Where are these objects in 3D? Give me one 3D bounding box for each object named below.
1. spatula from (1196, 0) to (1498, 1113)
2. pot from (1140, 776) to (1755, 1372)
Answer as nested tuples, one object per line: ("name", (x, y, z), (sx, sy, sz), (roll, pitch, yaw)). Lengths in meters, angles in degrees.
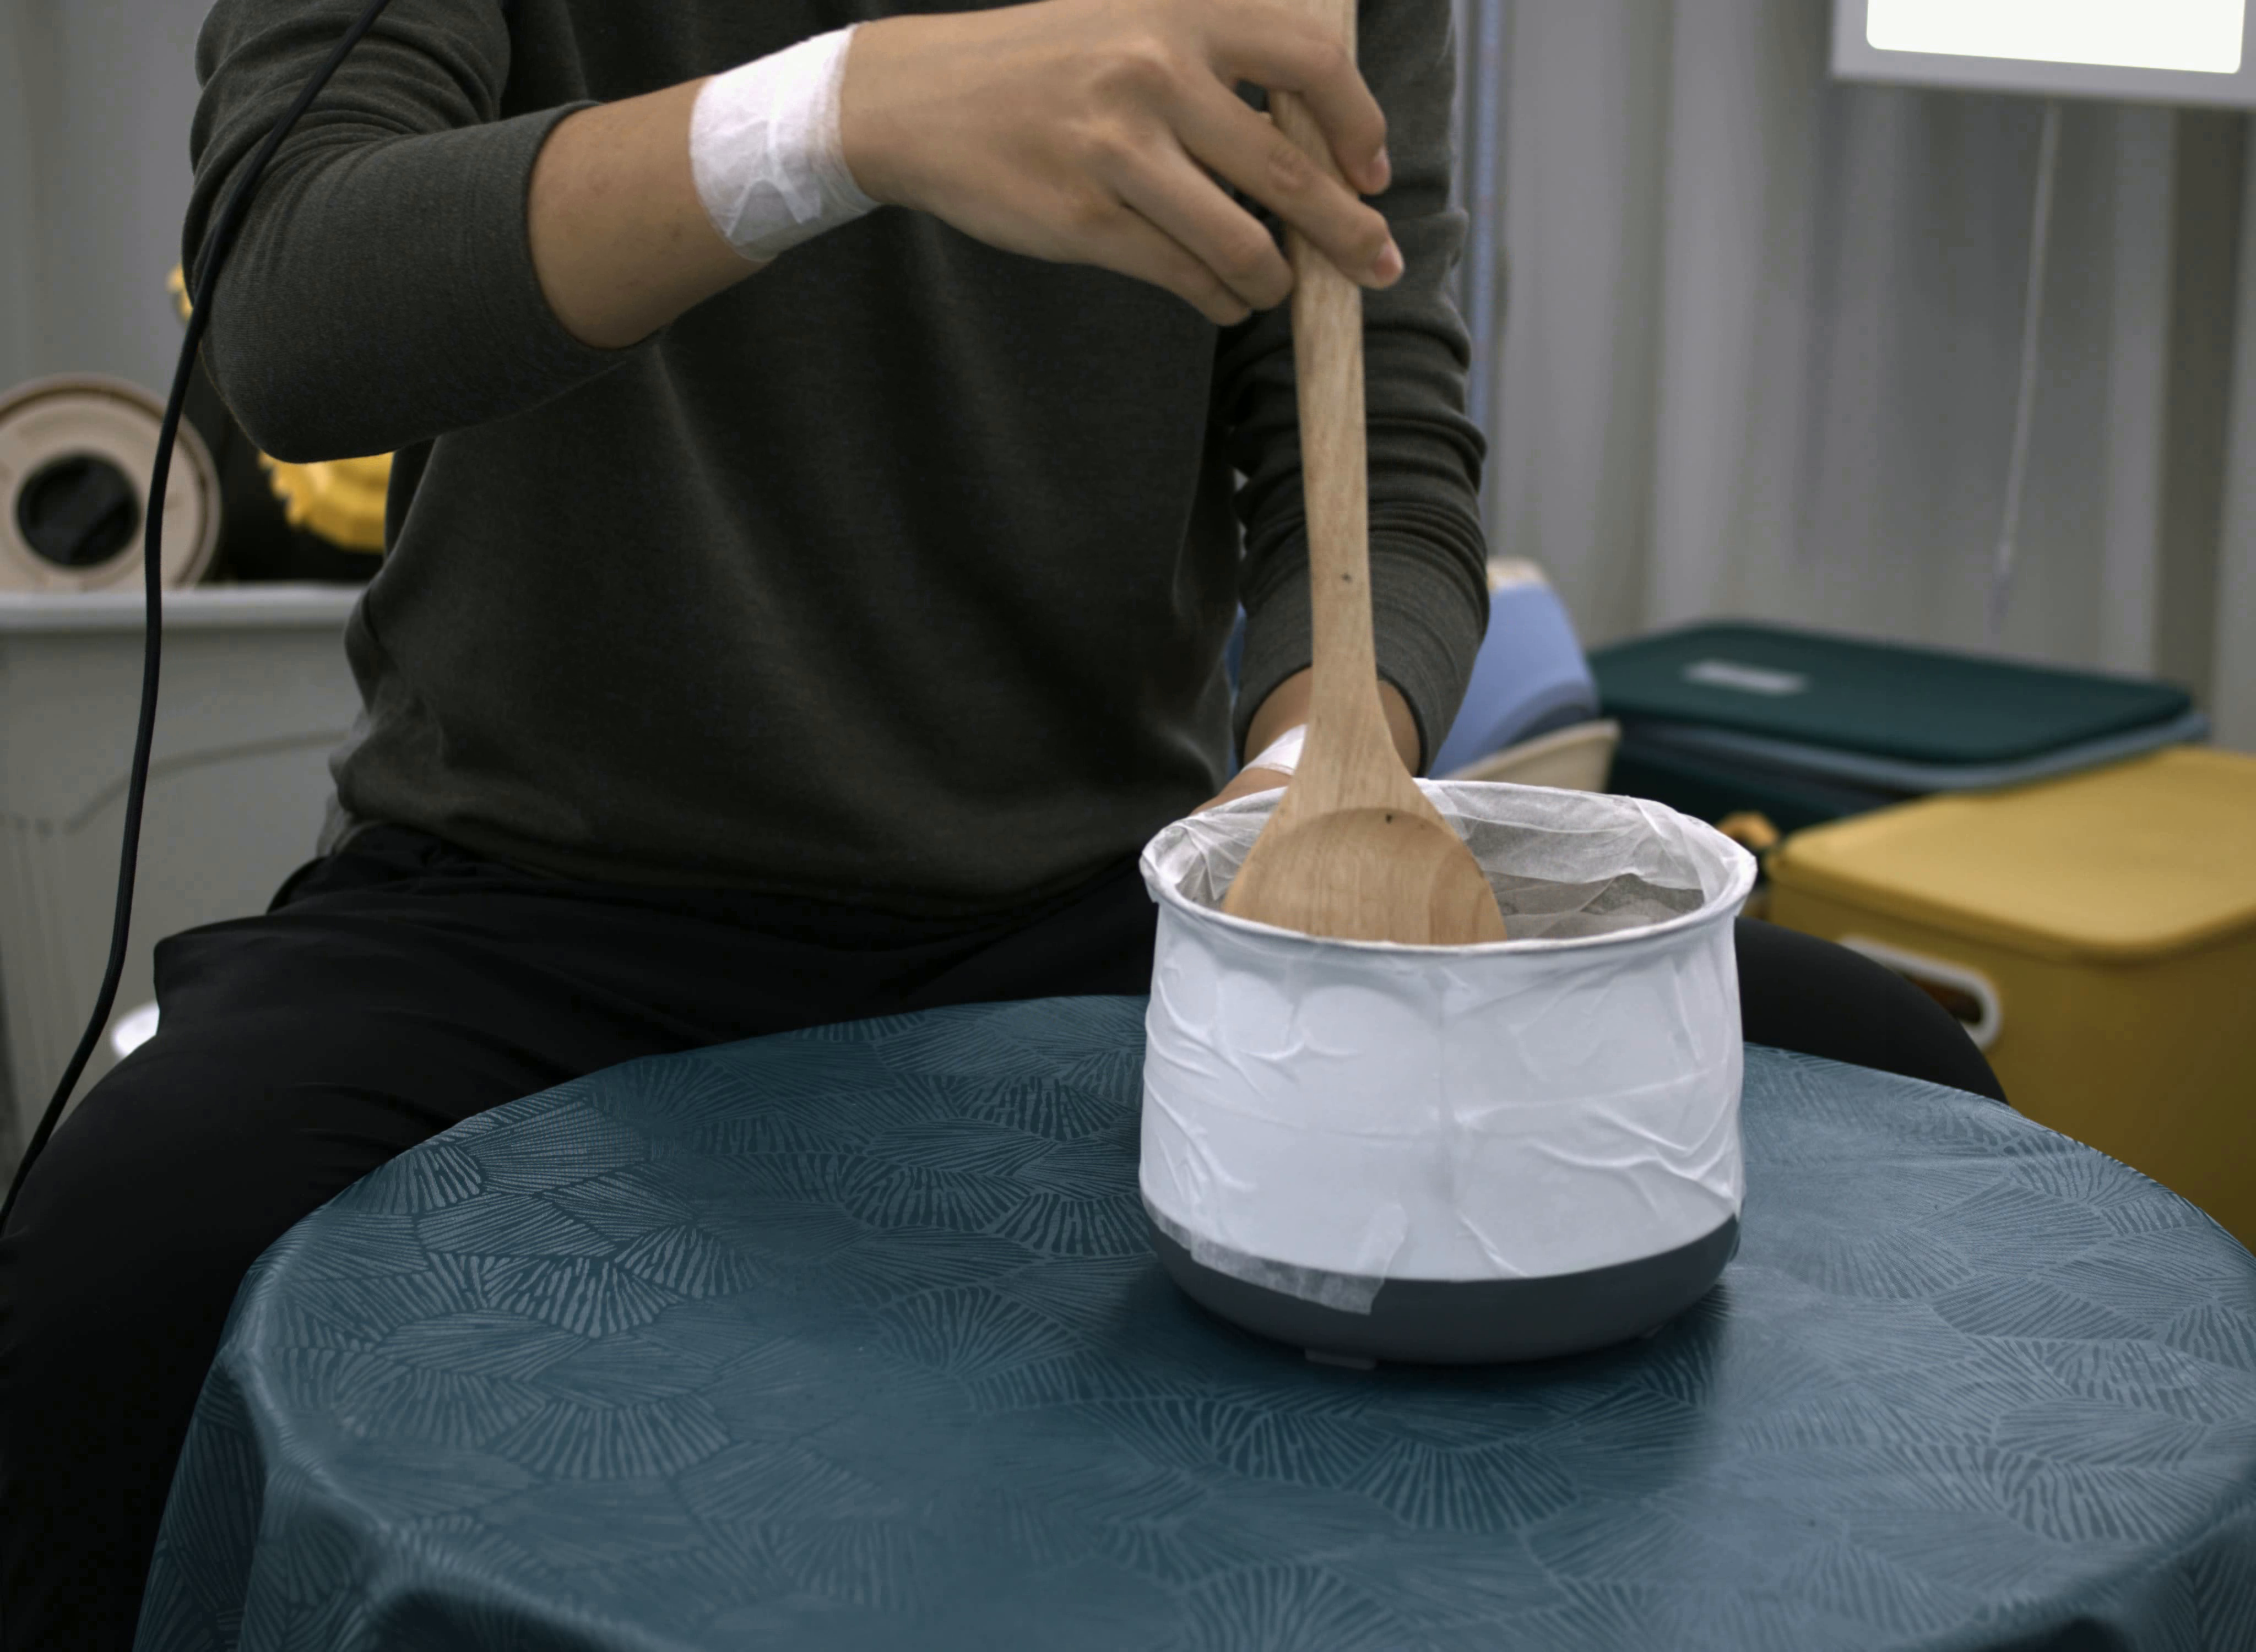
("spatula", (0.054, -0.104, 1.470), (0.096, 0.393, 0.018), (-8, 12, -21))
("pot", (0.082, 0.065, 1.548), (0.179, 0.138, 0.231), (-5, 16, -18))
